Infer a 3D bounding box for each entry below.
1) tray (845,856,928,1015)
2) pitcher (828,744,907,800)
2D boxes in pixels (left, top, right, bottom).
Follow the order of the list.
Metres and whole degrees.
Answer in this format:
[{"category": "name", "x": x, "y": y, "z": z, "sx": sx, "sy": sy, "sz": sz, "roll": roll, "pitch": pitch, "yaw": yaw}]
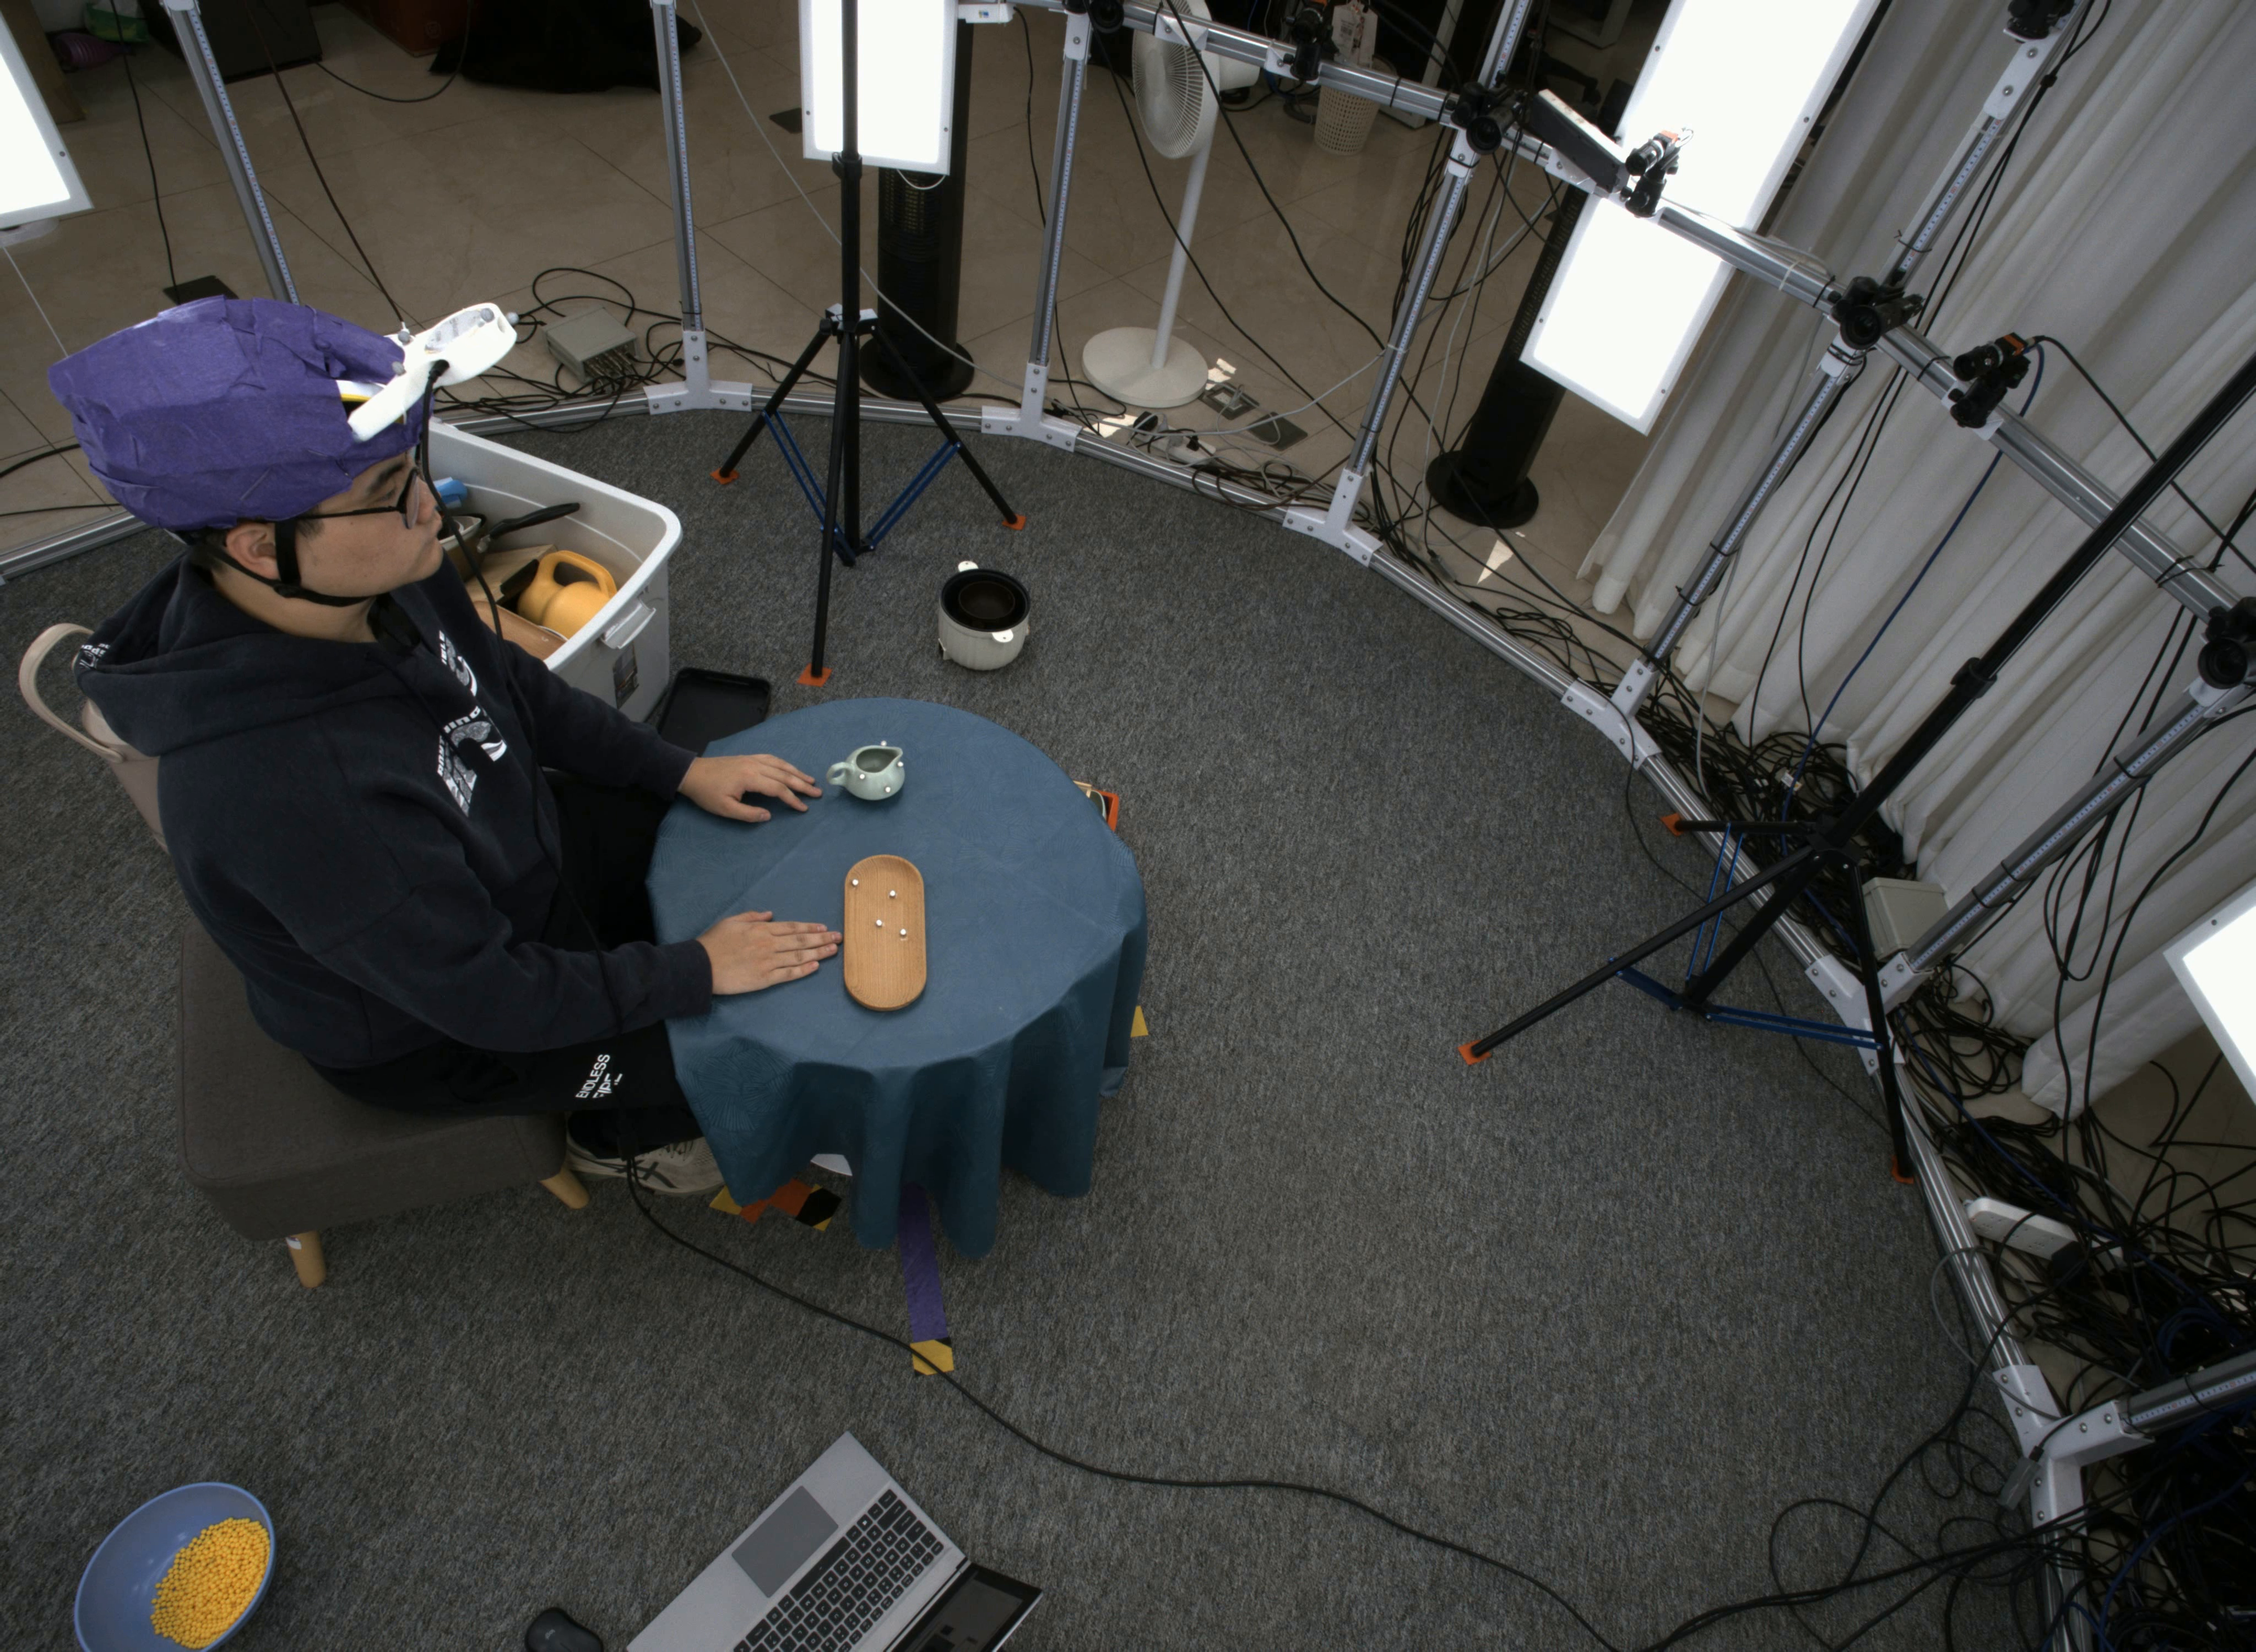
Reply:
[{"category": "tray", "x": -0.305, "y": 0.134, "z": 1.640, "sx": 0.102, "sy": 0.021, "sz": 0.226, "roll": 0, "pitch": 56, "yaw": -13}, {"category": "pitcher", "x": -0.354, "y": -0.073, "z": 1.757, "sx": 0.108, "sy": 0.062, "sz": 0.084, "roll": -20, "pitch": 59, "yaw": -23}]
